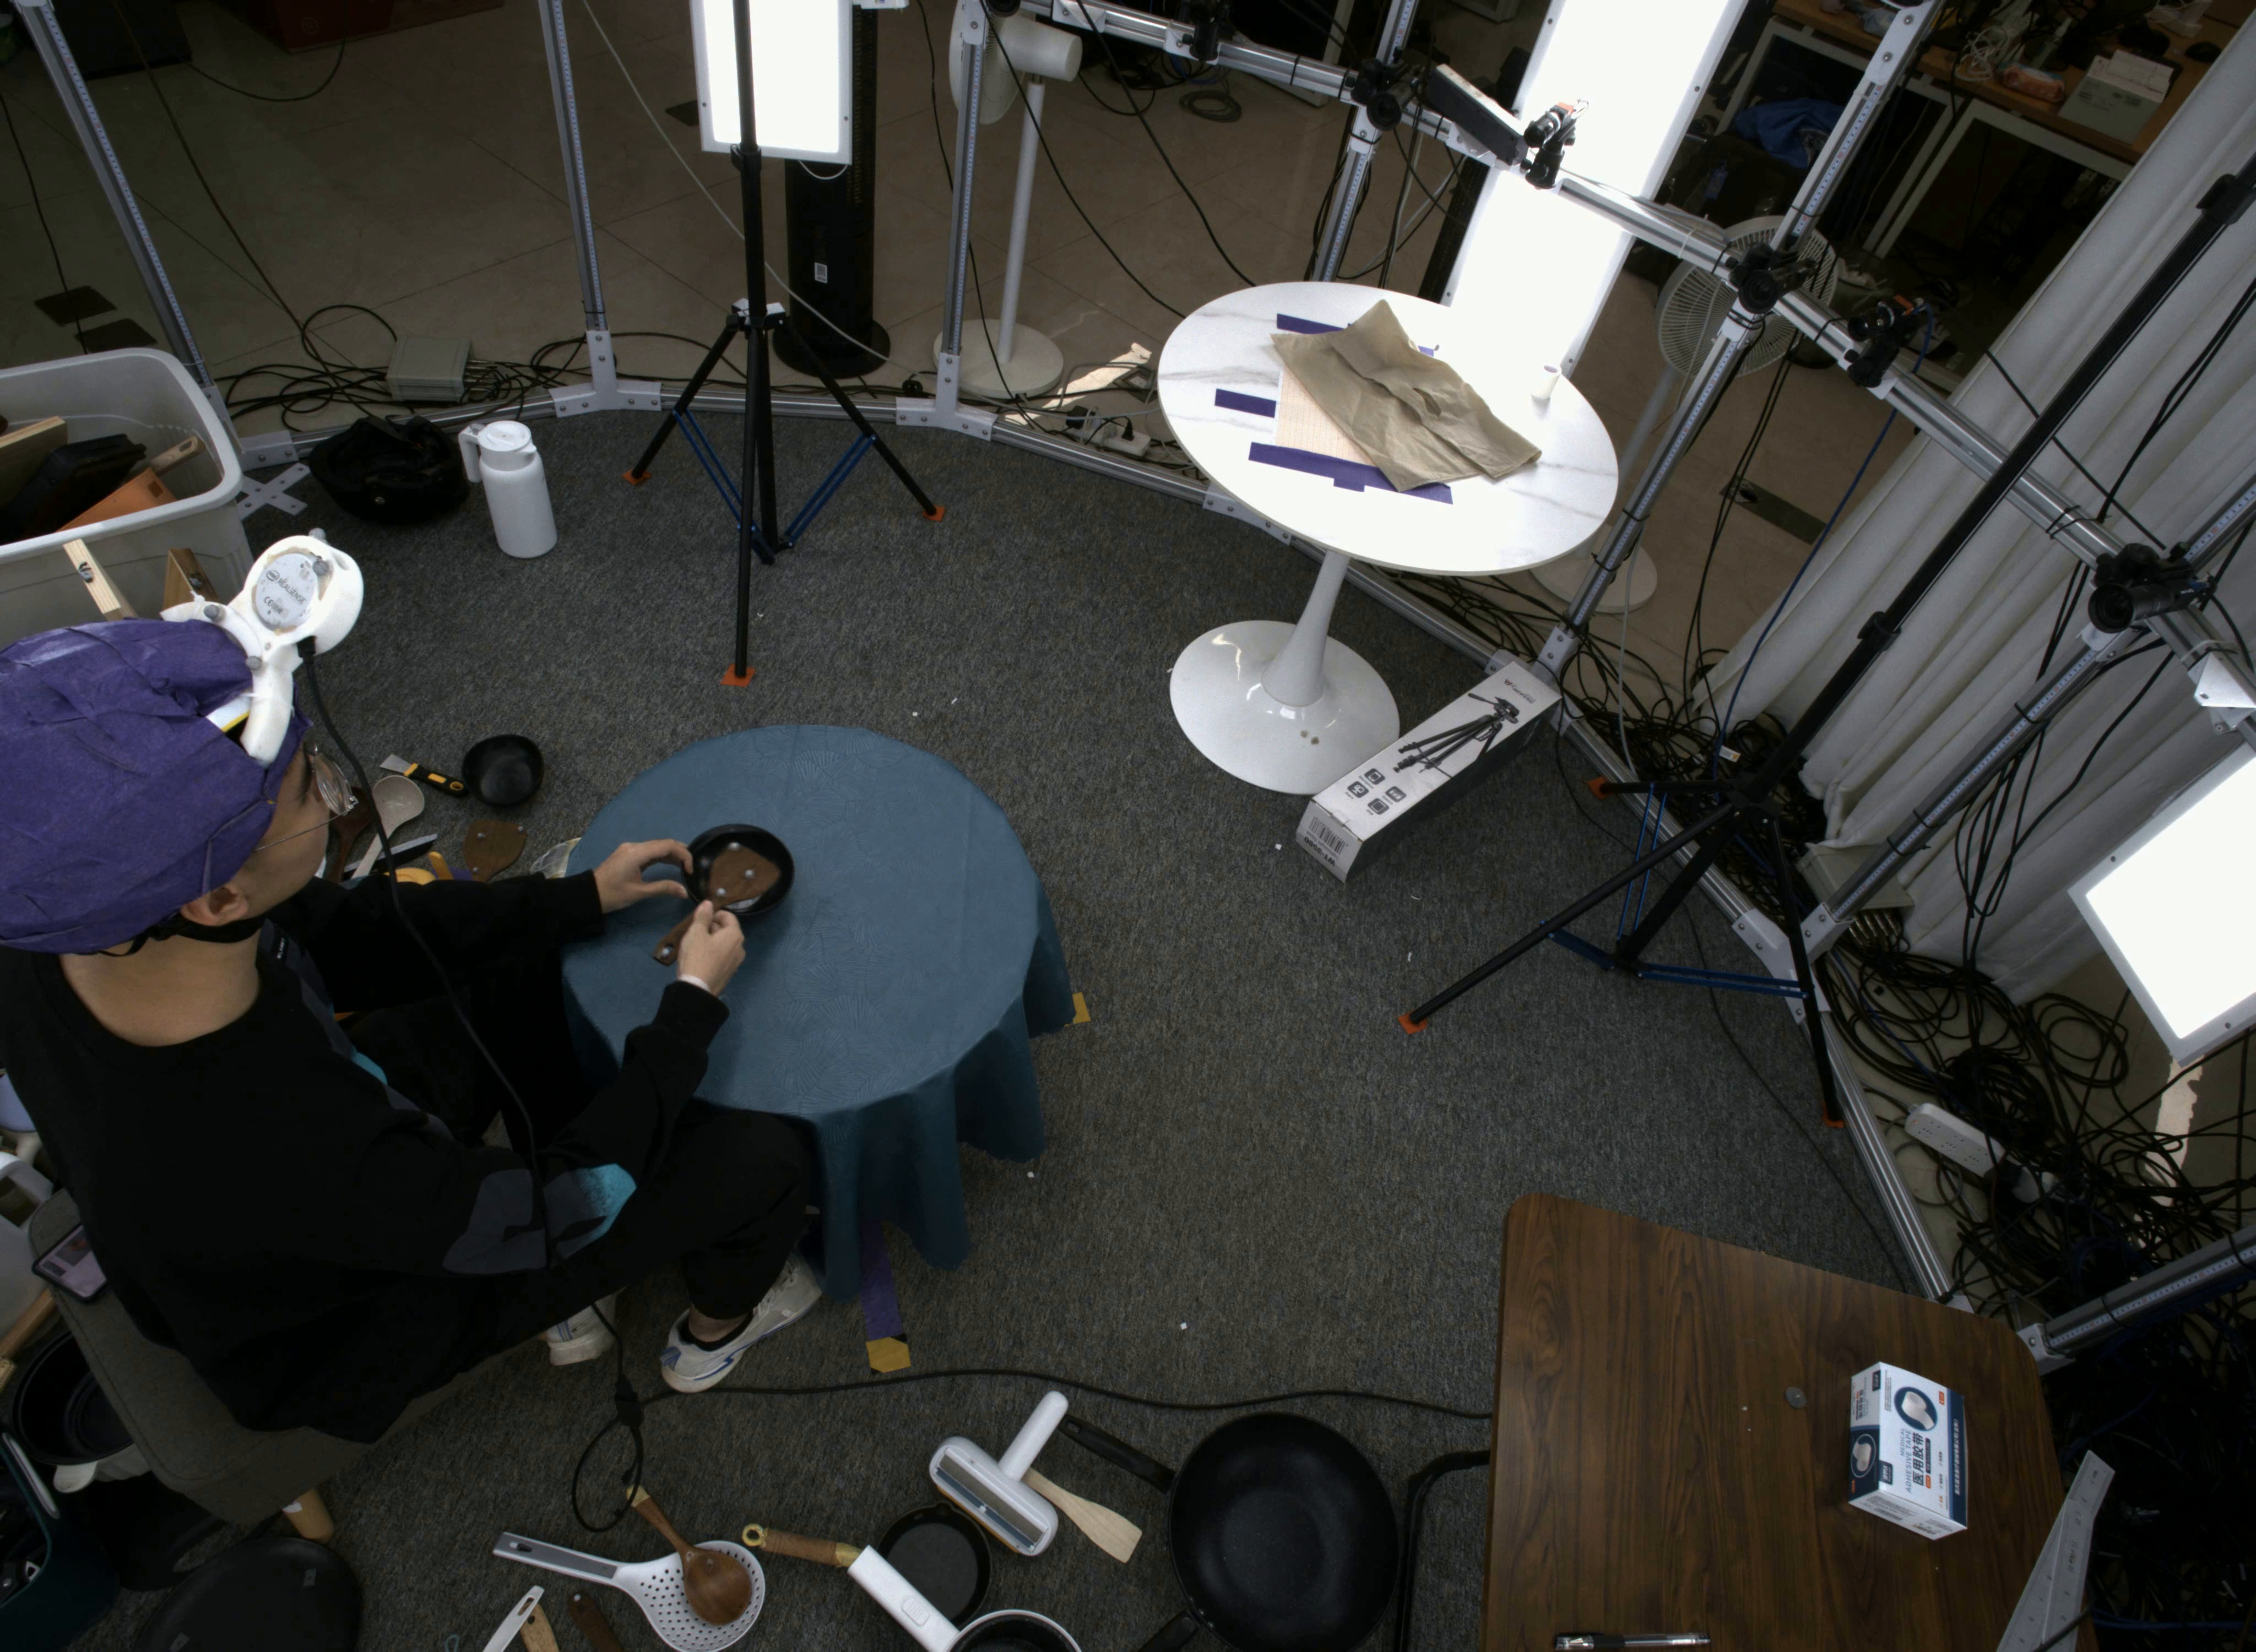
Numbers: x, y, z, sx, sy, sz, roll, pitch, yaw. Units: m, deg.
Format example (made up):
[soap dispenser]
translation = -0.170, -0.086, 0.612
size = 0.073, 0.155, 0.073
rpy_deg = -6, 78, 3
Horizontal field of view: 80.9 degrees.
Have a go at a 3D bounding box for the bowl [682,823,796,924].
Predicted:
[bowl]
translation = -0.489, 0.065, 1.622
size = 0.141, 0.050, 0.138
rpy_deg = 12, 55, -15

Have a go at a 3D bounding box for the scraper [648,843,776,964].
[scraper]
translation = -0.487, 0.089, 1.488
size = 0.076, 0.011, 0.209
rpy_deg = 33, 36, -3
